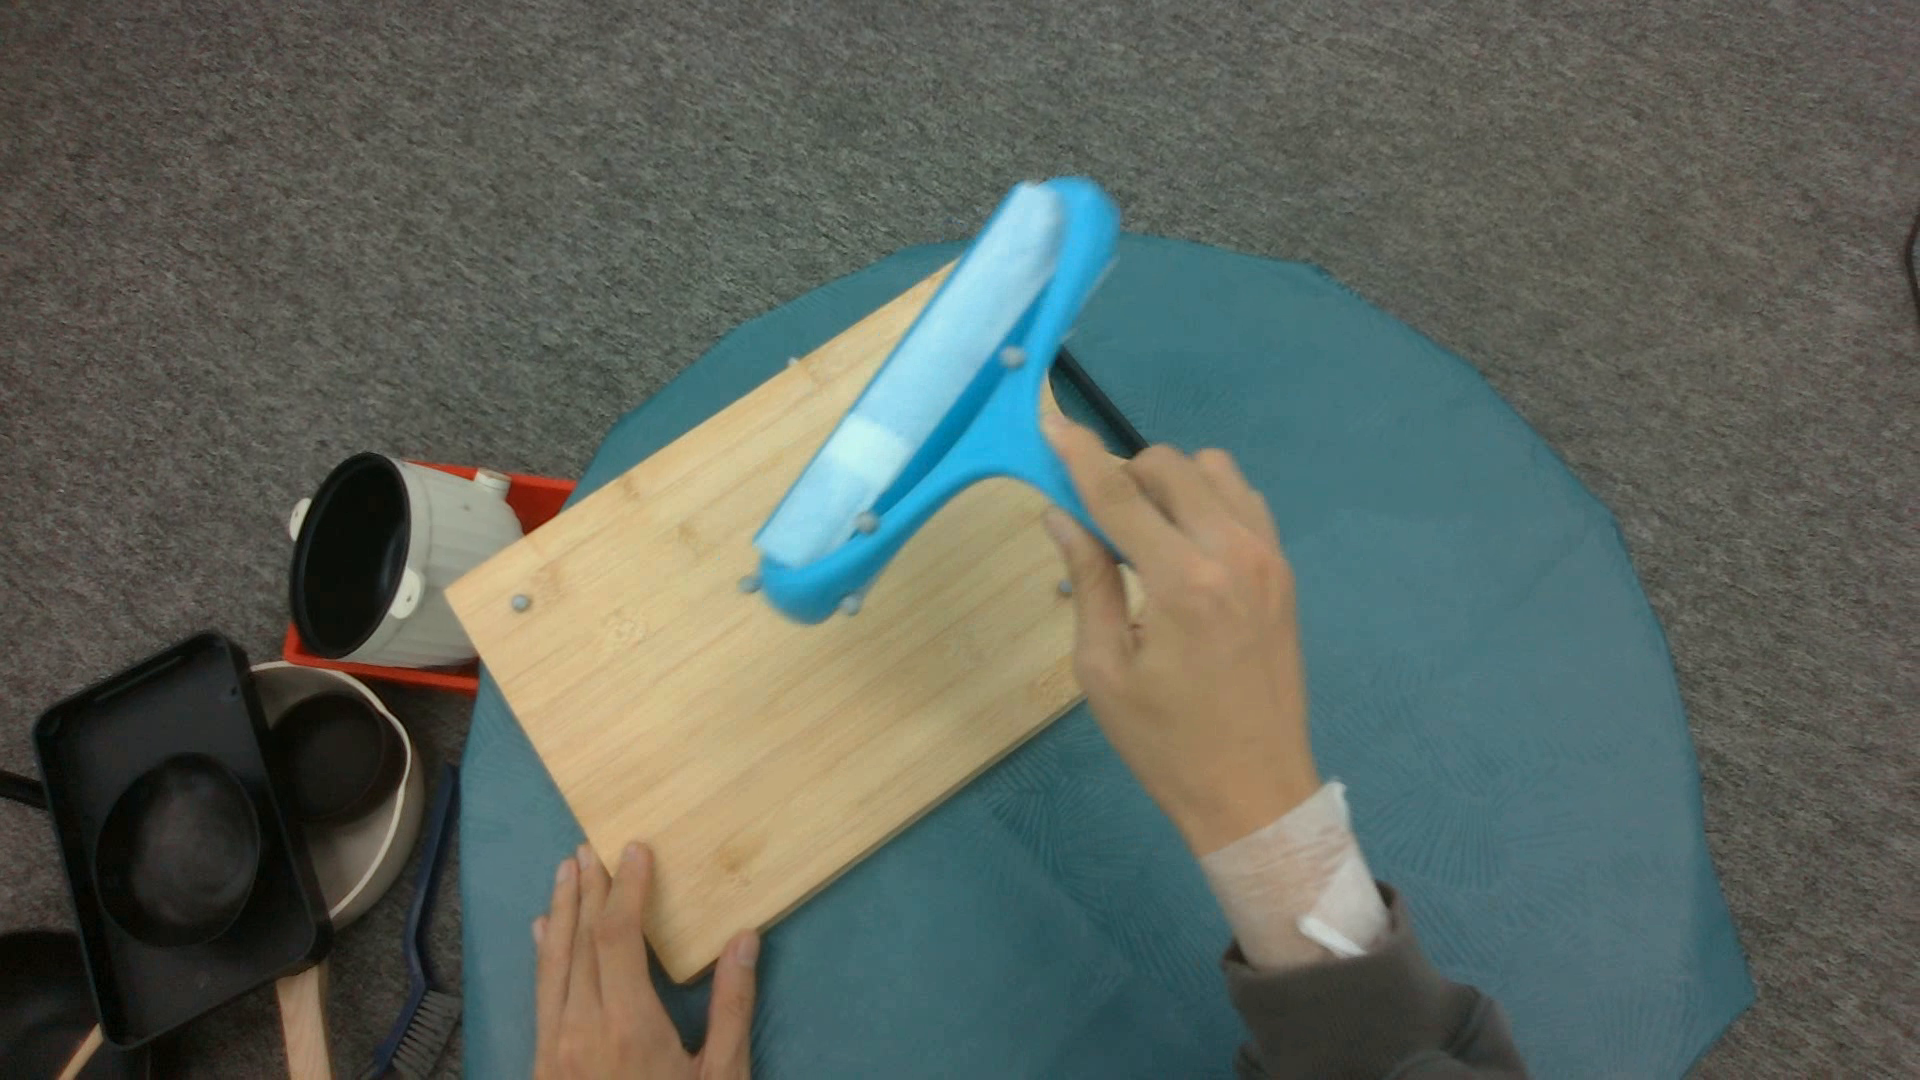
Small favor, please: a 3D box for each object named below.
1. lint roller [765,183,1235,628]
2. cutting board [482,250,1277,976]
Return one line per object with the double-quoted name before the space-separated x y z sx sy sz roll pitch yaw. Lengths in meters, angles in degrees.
"lint roller" 0.034 -0.031 0.560 0.180 0.068 0.229 35 87 35
"cutting board" -0.049 0.022 0.721 0.349 0.023 0.251 -35 70 -9
